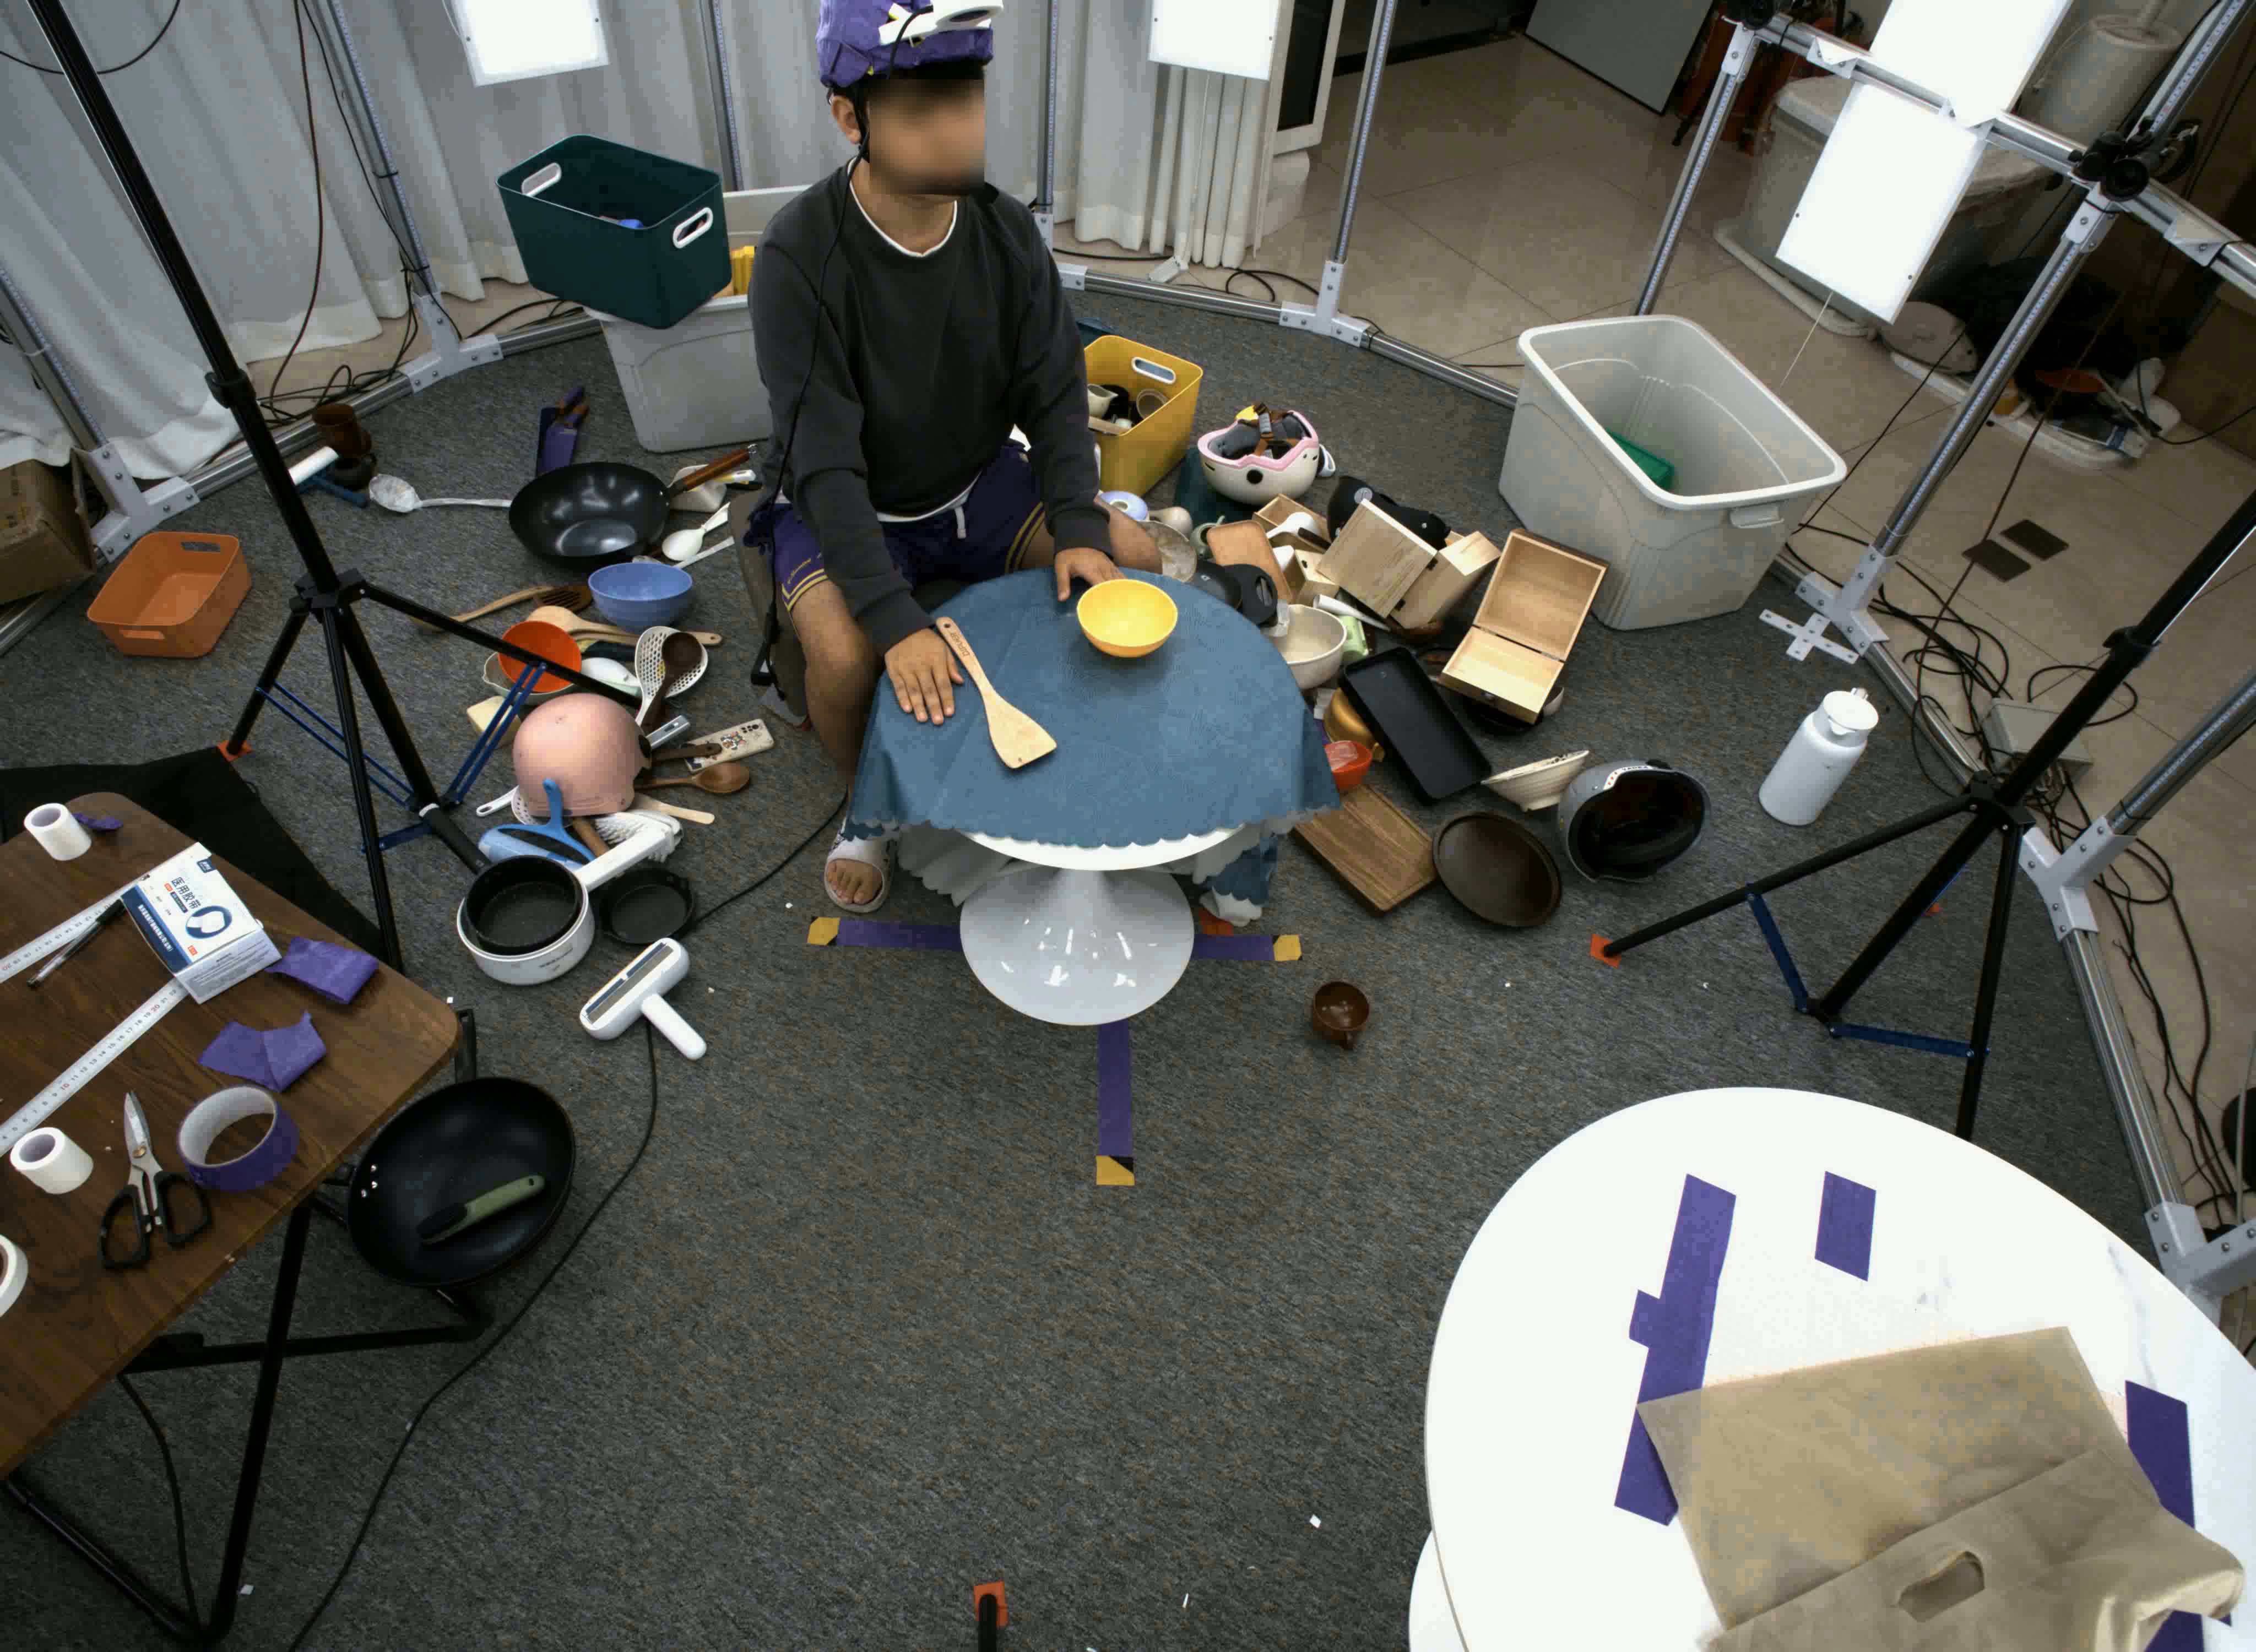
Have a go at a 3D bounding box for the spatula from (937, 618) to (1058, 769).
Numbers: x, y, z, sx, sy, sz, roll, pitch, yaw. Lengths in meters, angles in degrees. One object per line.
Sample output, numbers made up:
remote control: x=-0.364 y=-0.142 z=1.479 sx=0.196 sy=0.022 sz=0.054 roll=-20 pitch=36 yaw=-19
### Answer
spatula: x=-0.197 y=-0.196 z=1.813 sx=0.080 sy=0.016 sz=0.335 roll=-20 pitch=53 yaw=-19

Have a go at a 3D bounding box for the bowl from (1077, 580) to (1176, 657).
bowl: x=-0.005 y=-0.293 z=1.883 sx=0.145 sy=0.058 sz=0.149 roll=3 pitch=48 yaw=-4
